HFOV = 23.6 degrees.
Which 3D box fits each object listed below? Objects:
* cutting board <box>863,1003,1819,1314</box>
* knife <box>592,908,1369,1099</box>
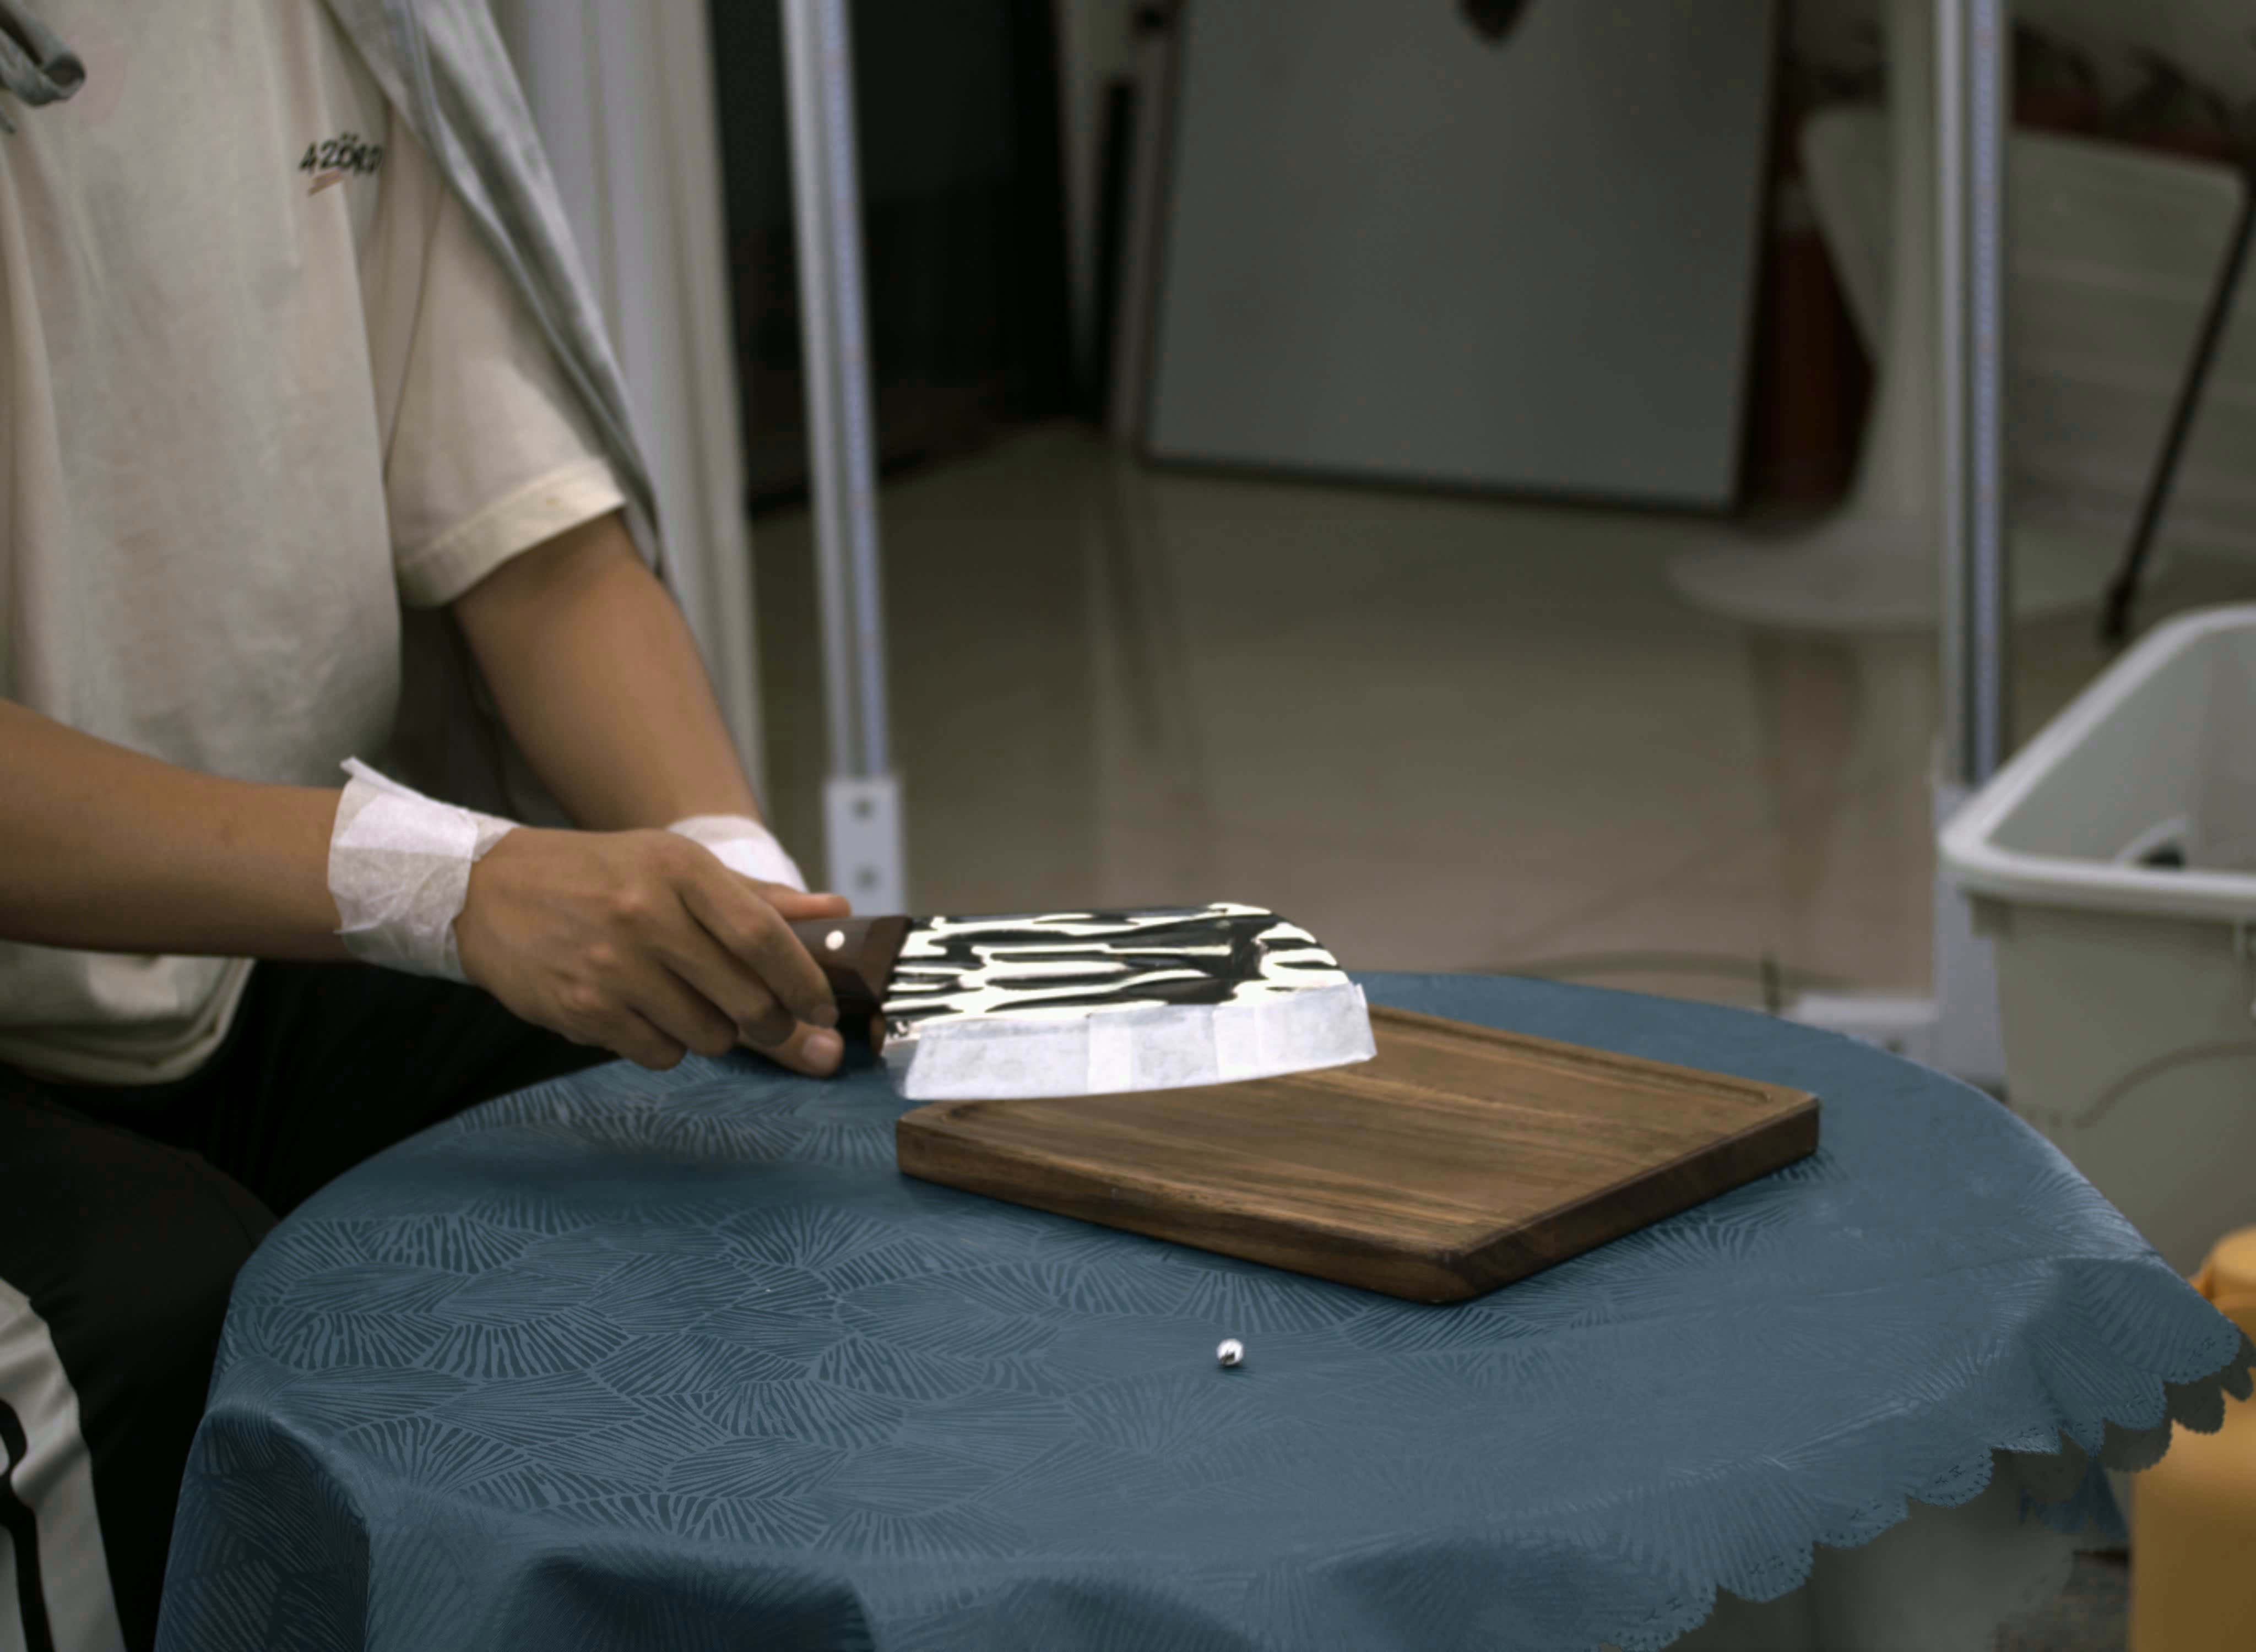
[{"bbox_3d":[0.040,0.099,1.820,0.355,0.023,0.197,8,20,44],"label":"cutting board"},{"bbox_3d":[-0.053,0.059,1.787,0.300,0.069,0.024,-1,-26,27],"label":"knife"}]
